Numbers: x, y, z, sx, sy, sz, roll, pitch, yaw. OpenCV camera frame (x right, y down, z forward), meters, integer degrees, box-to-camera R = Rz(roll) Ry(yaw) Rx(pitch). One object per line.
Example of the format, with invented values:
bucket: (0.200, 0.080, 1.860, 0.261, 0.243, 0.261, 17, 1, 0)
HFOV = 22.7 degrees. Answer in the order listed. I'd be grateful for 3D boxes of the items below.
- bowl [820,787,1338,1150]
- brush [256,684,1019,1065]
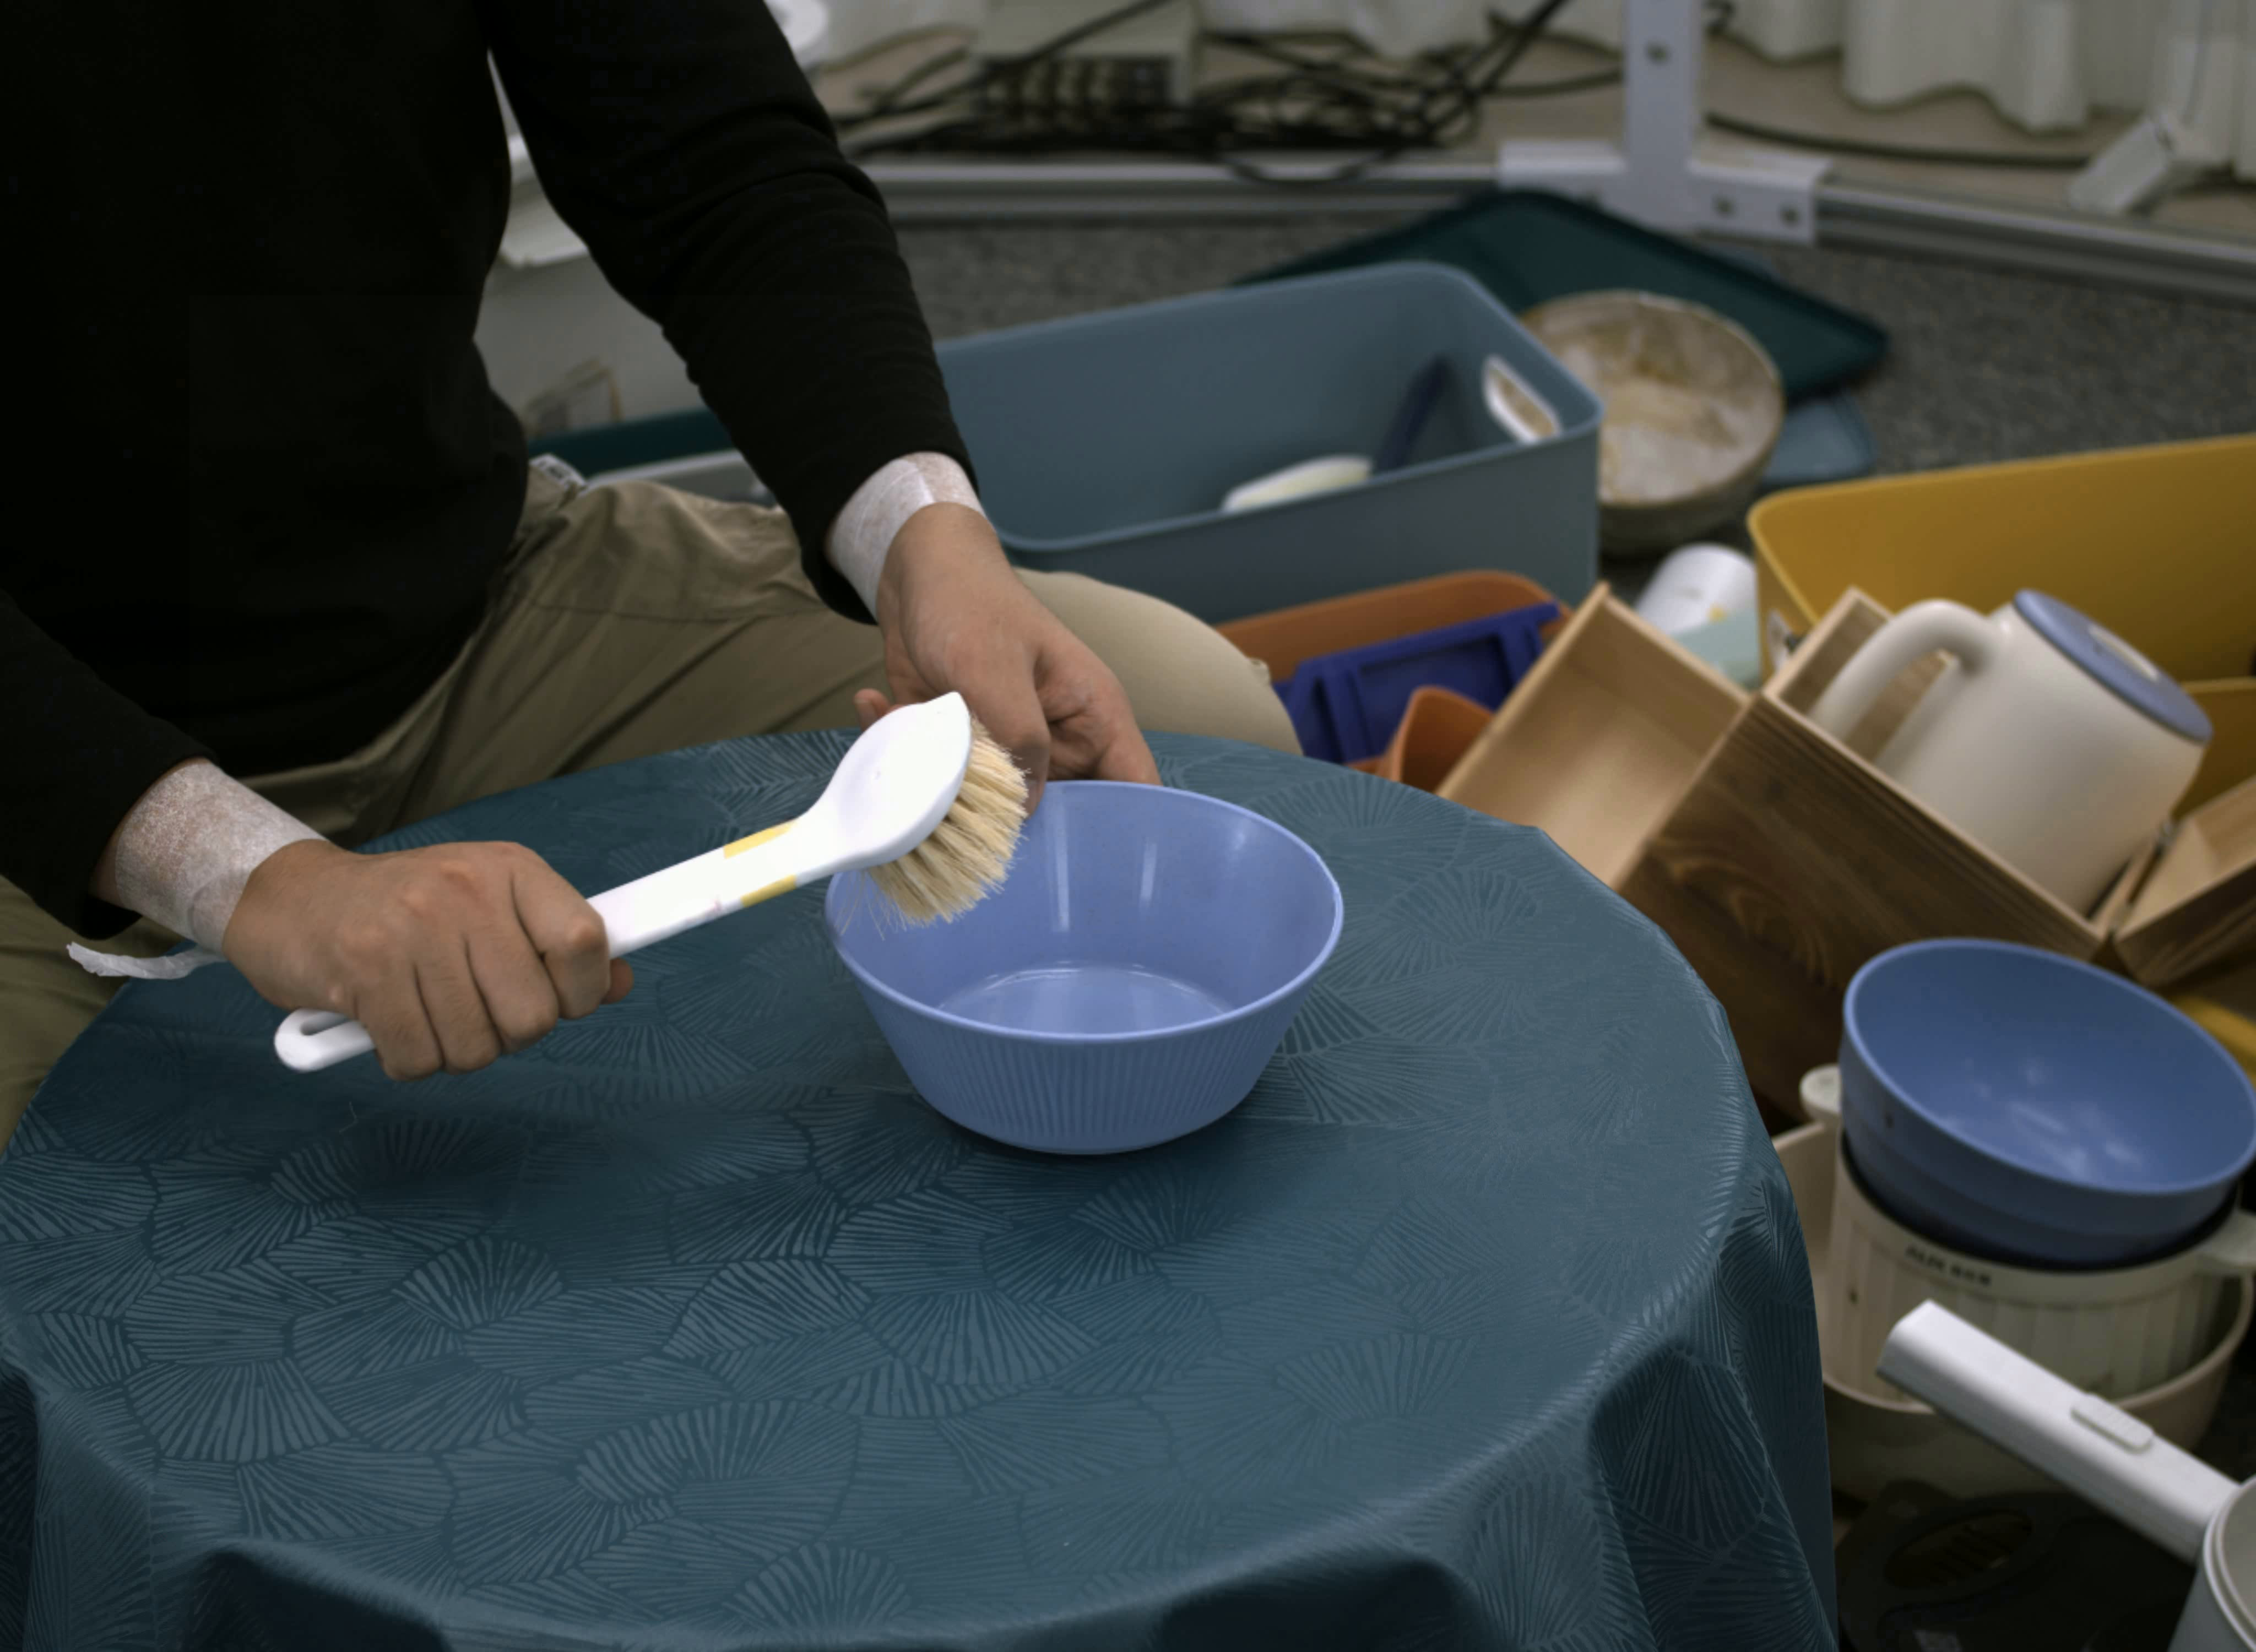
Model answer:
bowl: (-0.017, 0.054, 1.909, 0.175, 0.069, 0.179, 1, 27, 0)
brush: (-0.160, 0.033, 1.867, 0.265, 0.055, 0.069, -26, 35, 2)
